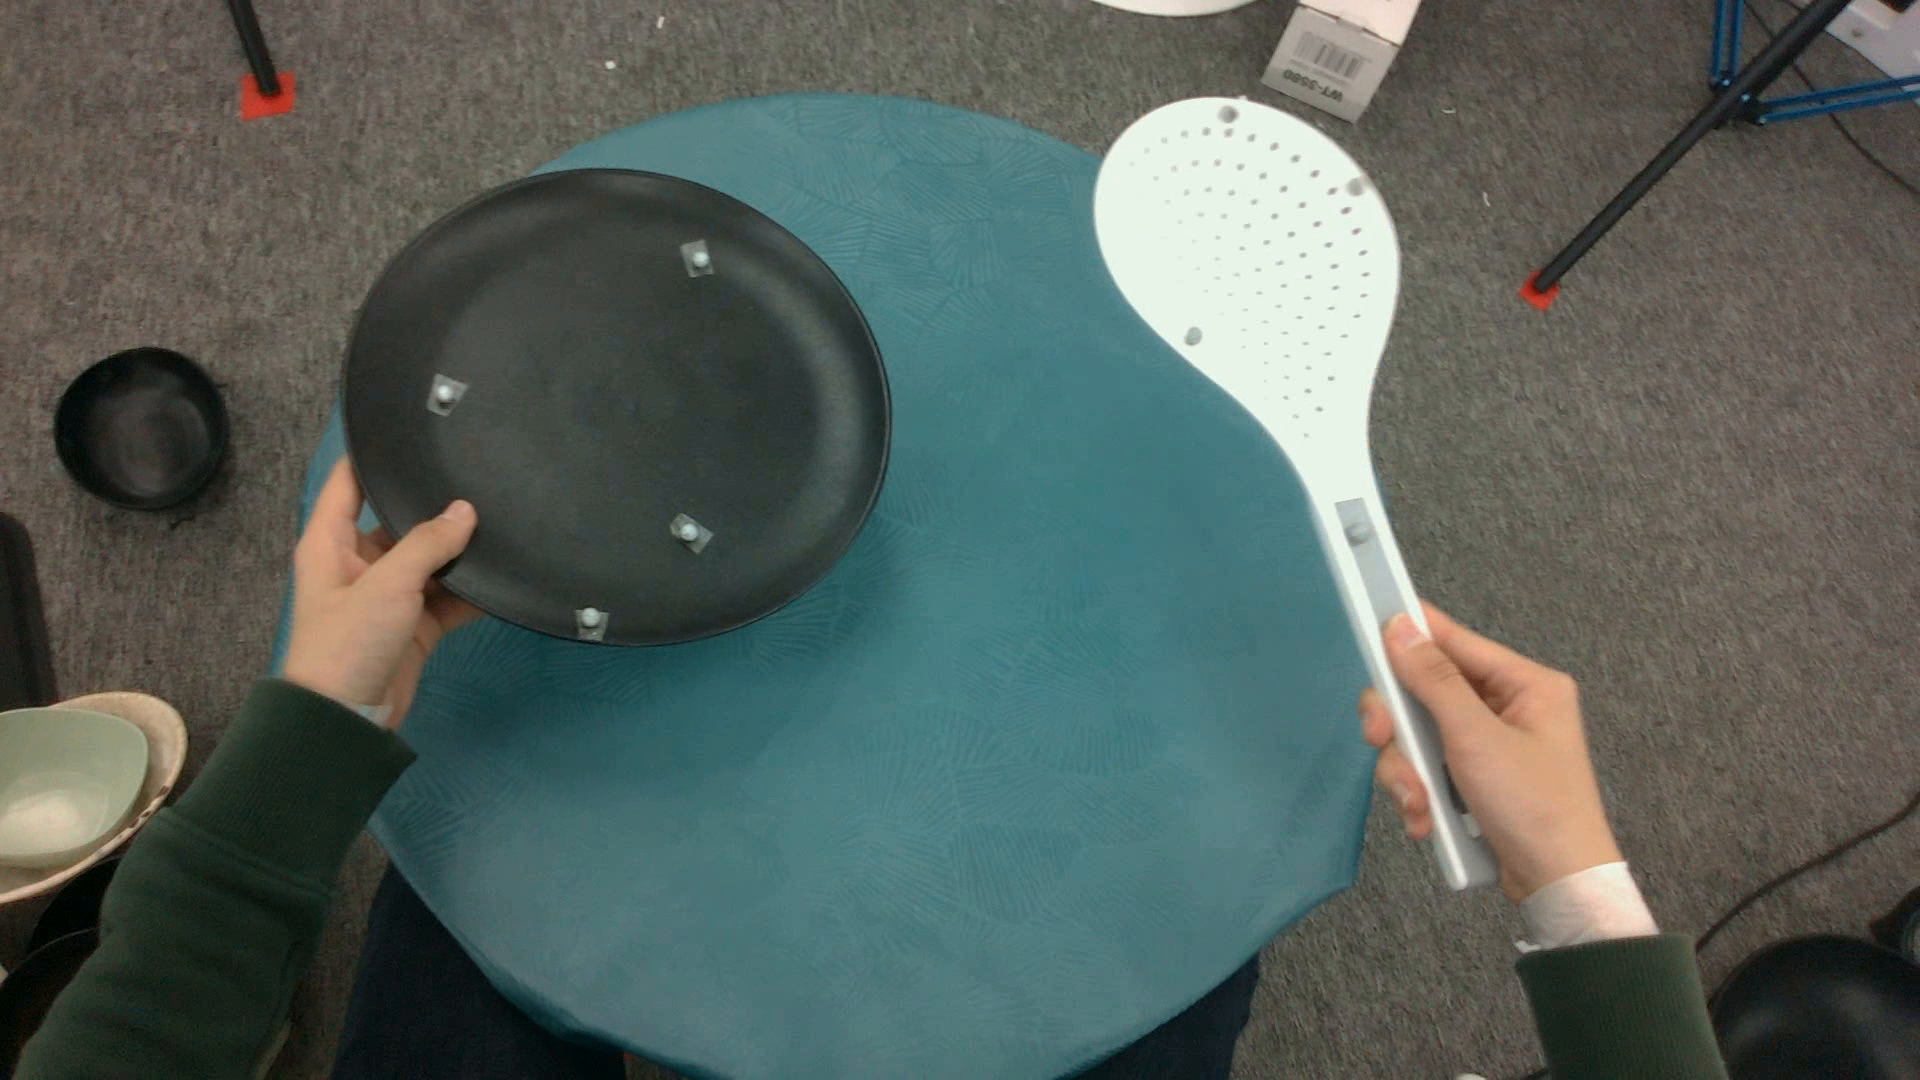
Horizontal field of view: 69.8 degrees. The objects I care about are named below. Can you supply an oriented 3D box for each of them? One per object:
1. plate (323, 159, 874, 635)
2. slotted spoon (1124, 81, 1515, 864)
[{"bbox_3d":[-0.161,-0.069,0.637,0.244,0.023,0.245,7,66,-16],"label":"plate"},{"bbox_3d":[0.165,-0.040,0.582,0.136,0.045,0.350,-12,69,-4],"label":"slotted spoon"}]
